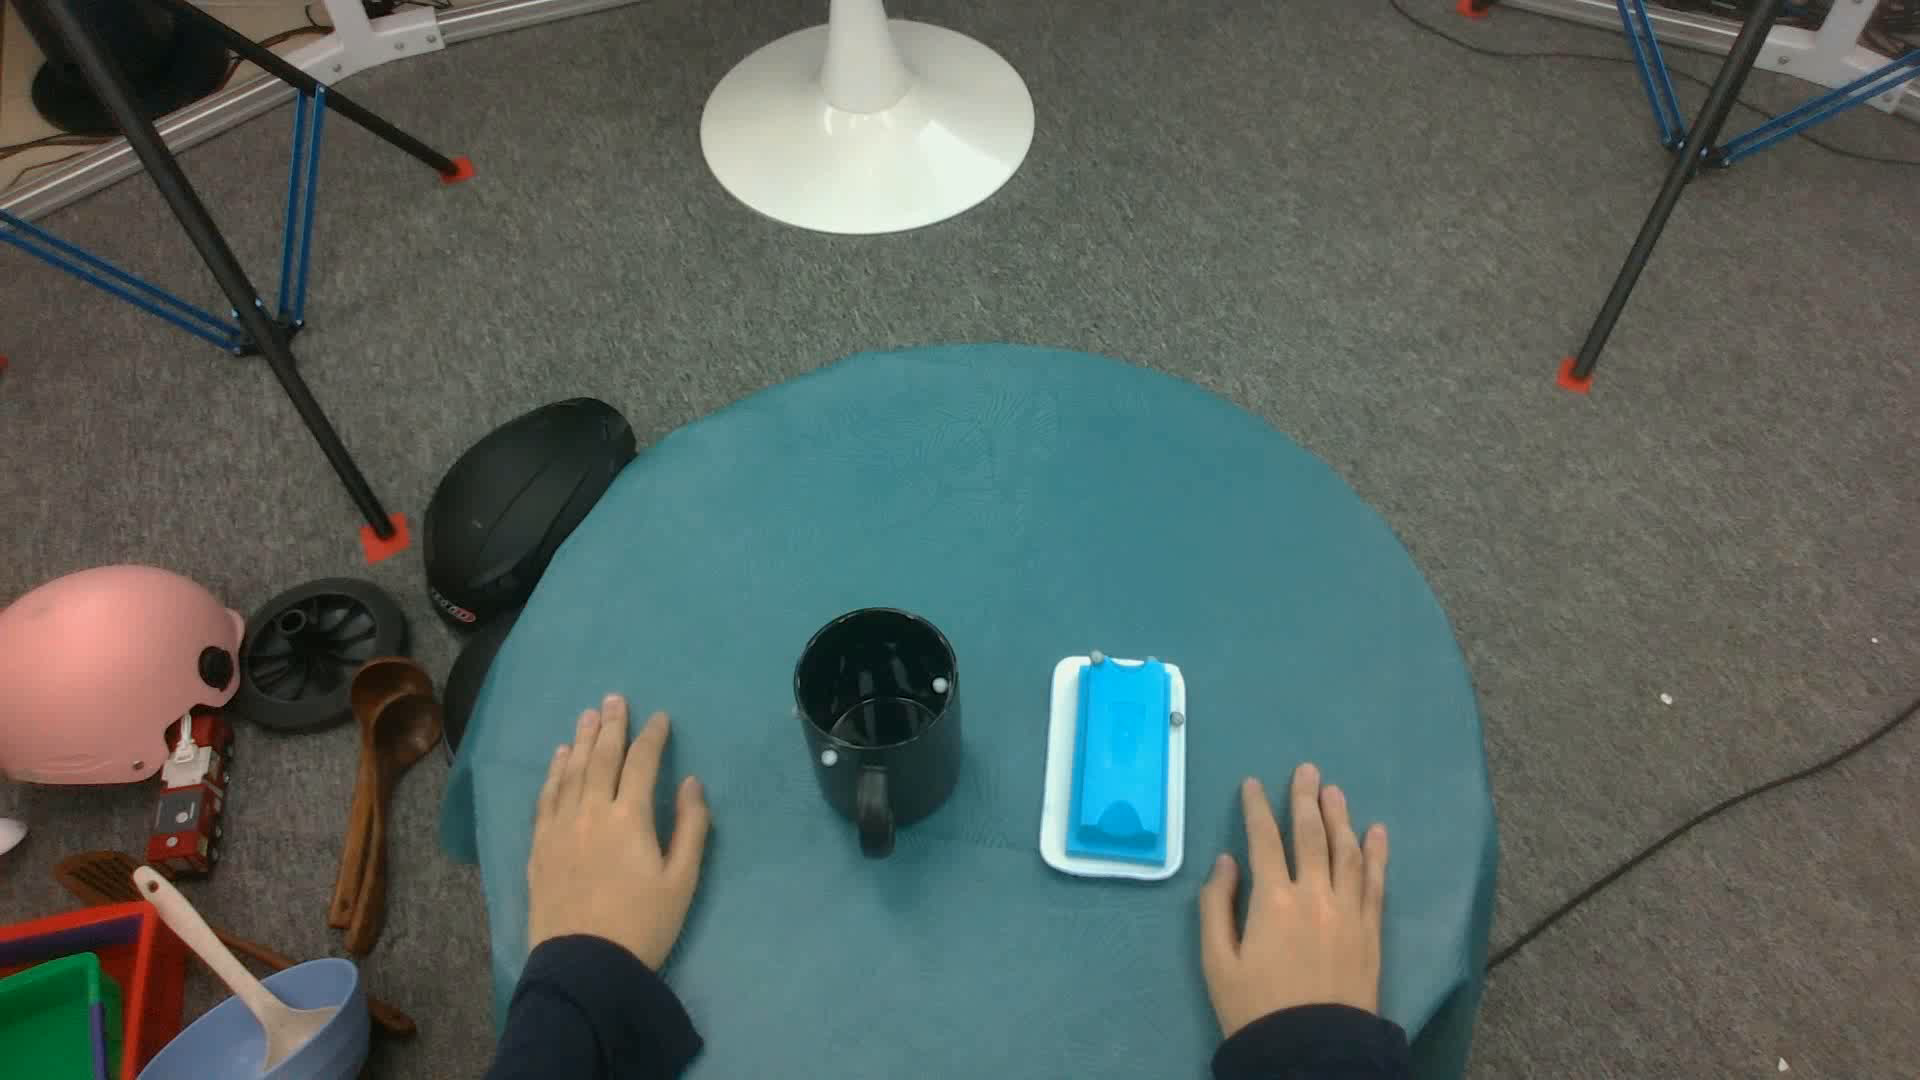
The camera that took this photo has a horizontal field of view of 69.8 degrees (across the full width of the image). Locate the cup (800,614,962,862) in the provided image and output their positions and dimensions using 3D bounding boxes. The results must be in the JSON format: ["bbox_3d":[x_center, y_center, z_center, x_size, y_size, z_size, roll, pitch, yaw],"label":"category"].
[{"bbox_3d":[-0.044,0.119,0.773,0.088,0.105,0.124,2,57,1],"label":"cup"}]

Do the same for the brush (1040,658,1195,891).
[{"bbox_3d":[0.092,0.126,0.789,0.084,0.055,0.144,4,51,9],"label":"brush"}]
